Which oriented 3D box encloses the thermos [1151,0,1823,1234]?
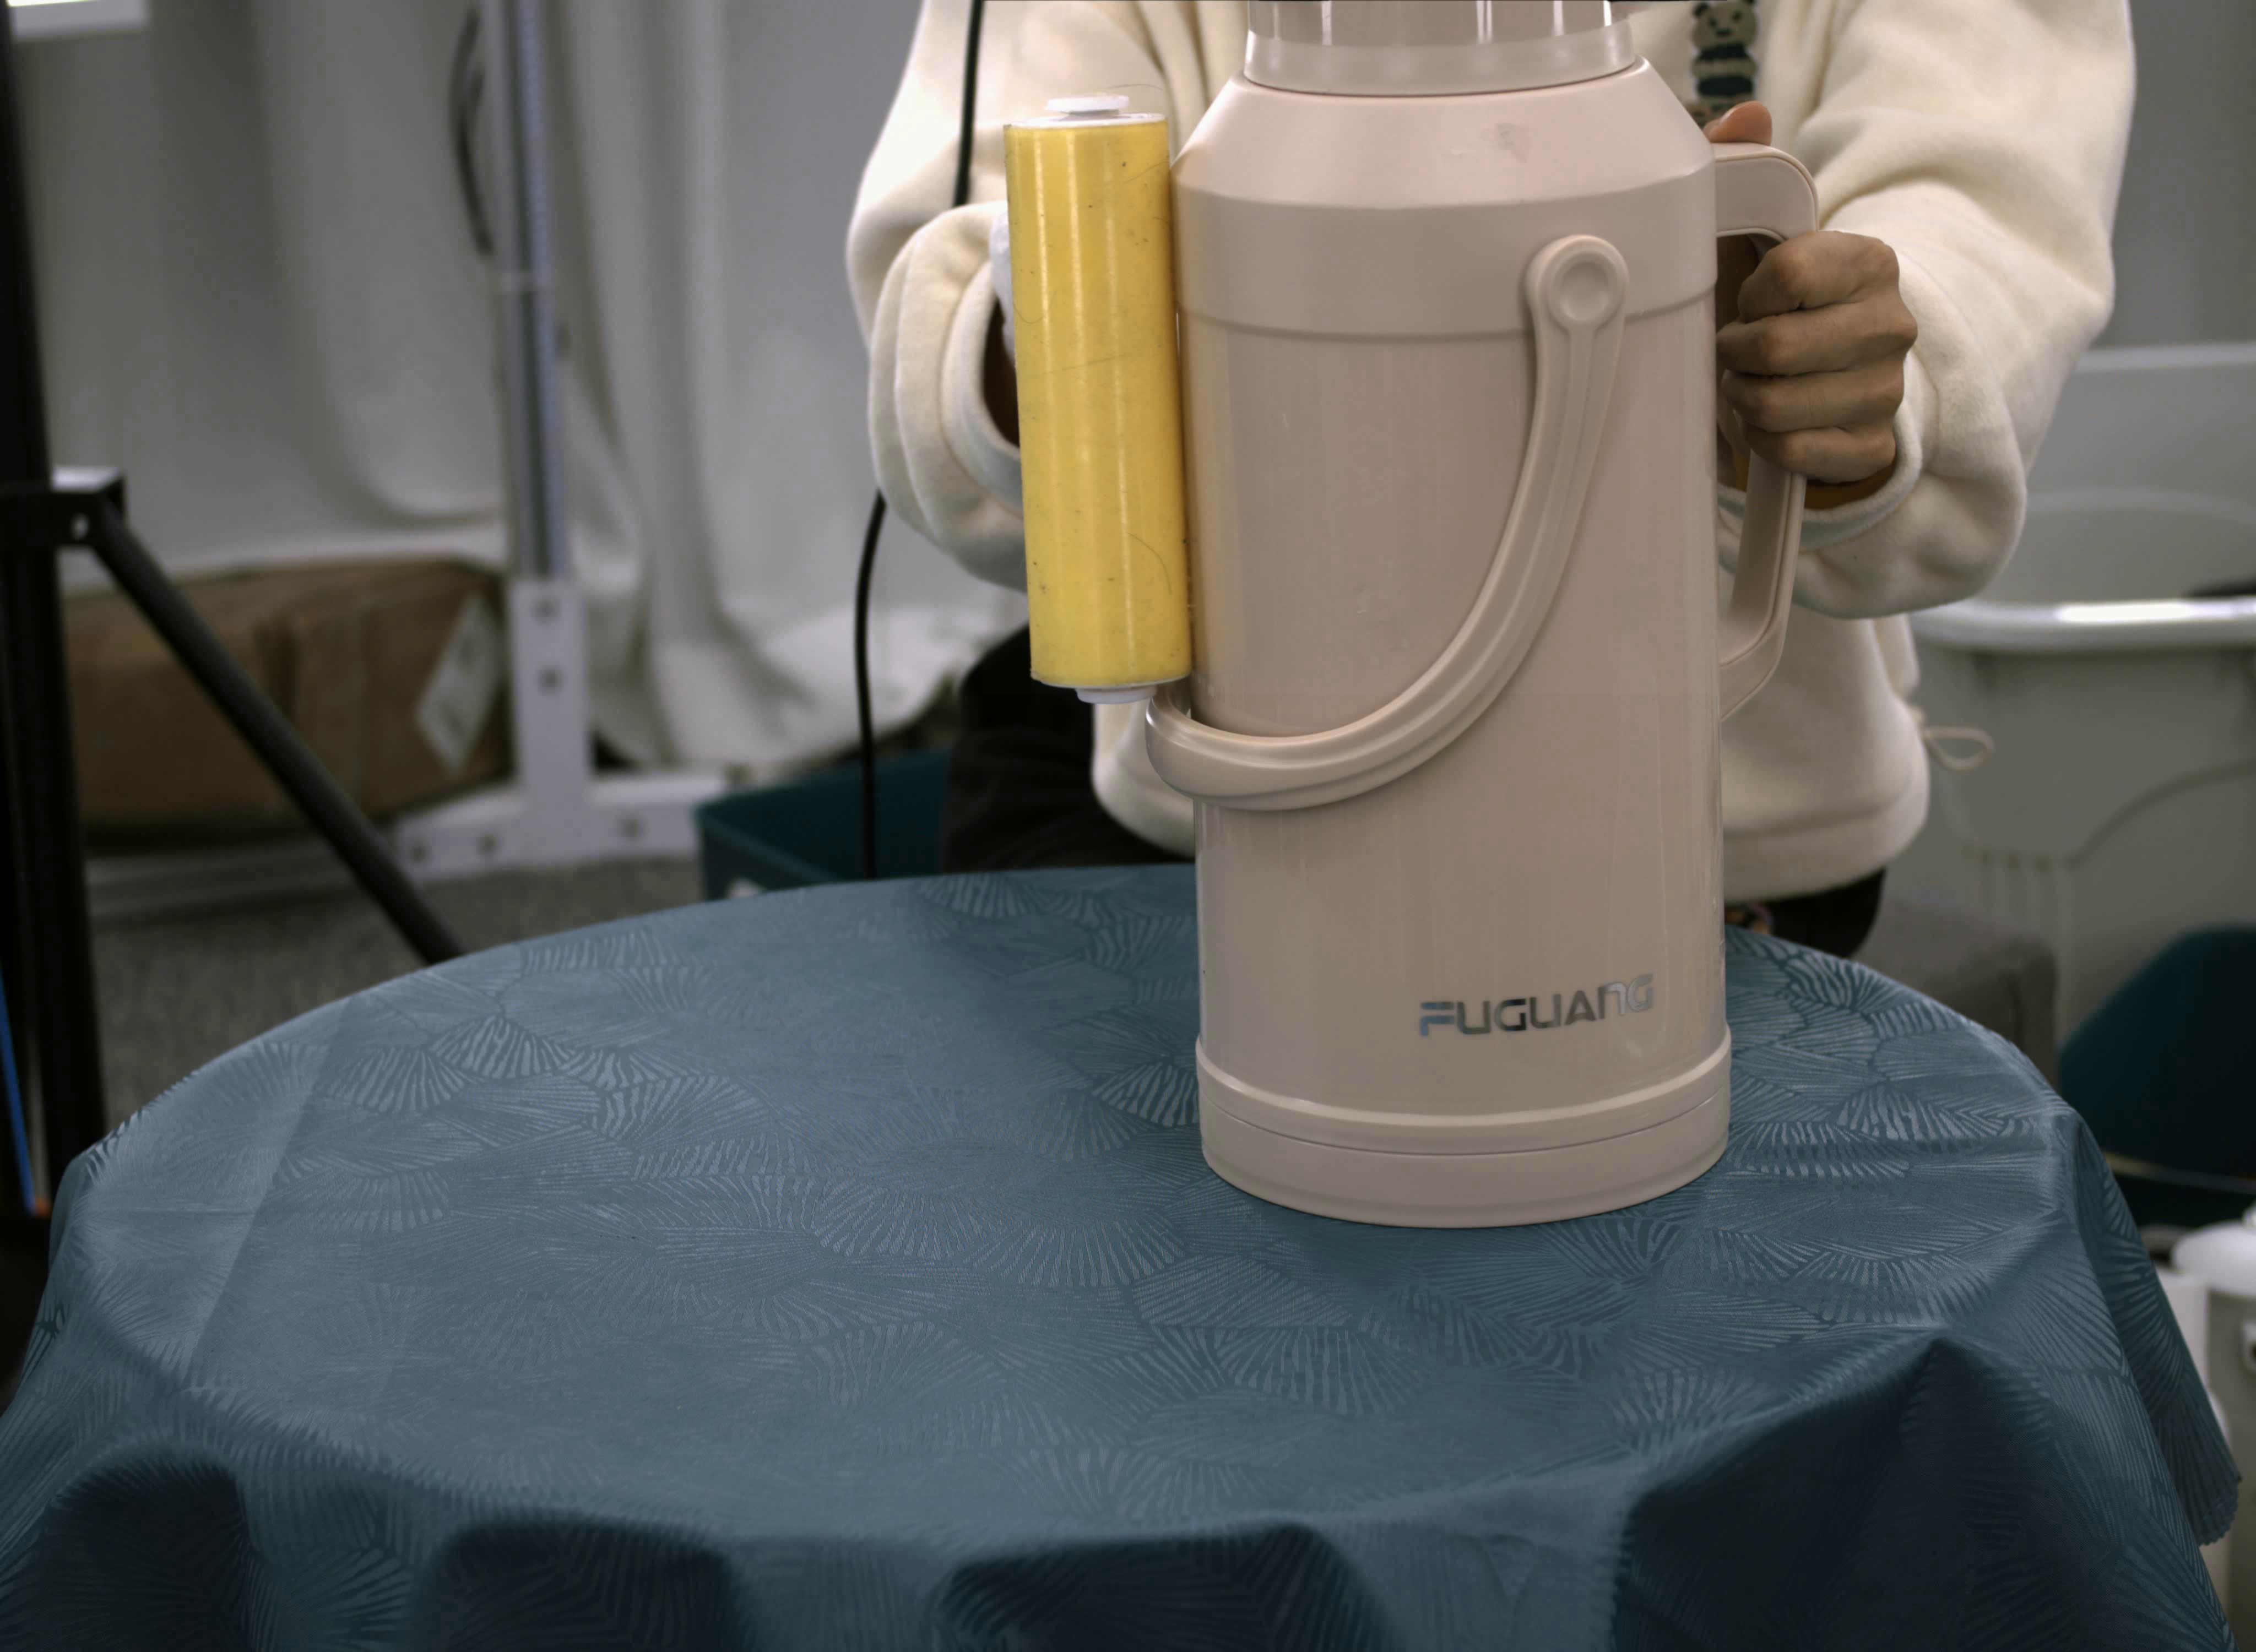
[{"bbox_3d":[0.107,-0.097,1.541,0.203,0.406,0.178,-8,15,-21],"label":"thermos"}]

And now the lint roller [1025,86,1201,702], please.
[{"bbox_3d":[-0.015,-0.133,1.597,0.051,0.174,0.194,-4,8,-10],"label":"lint roller"}]
